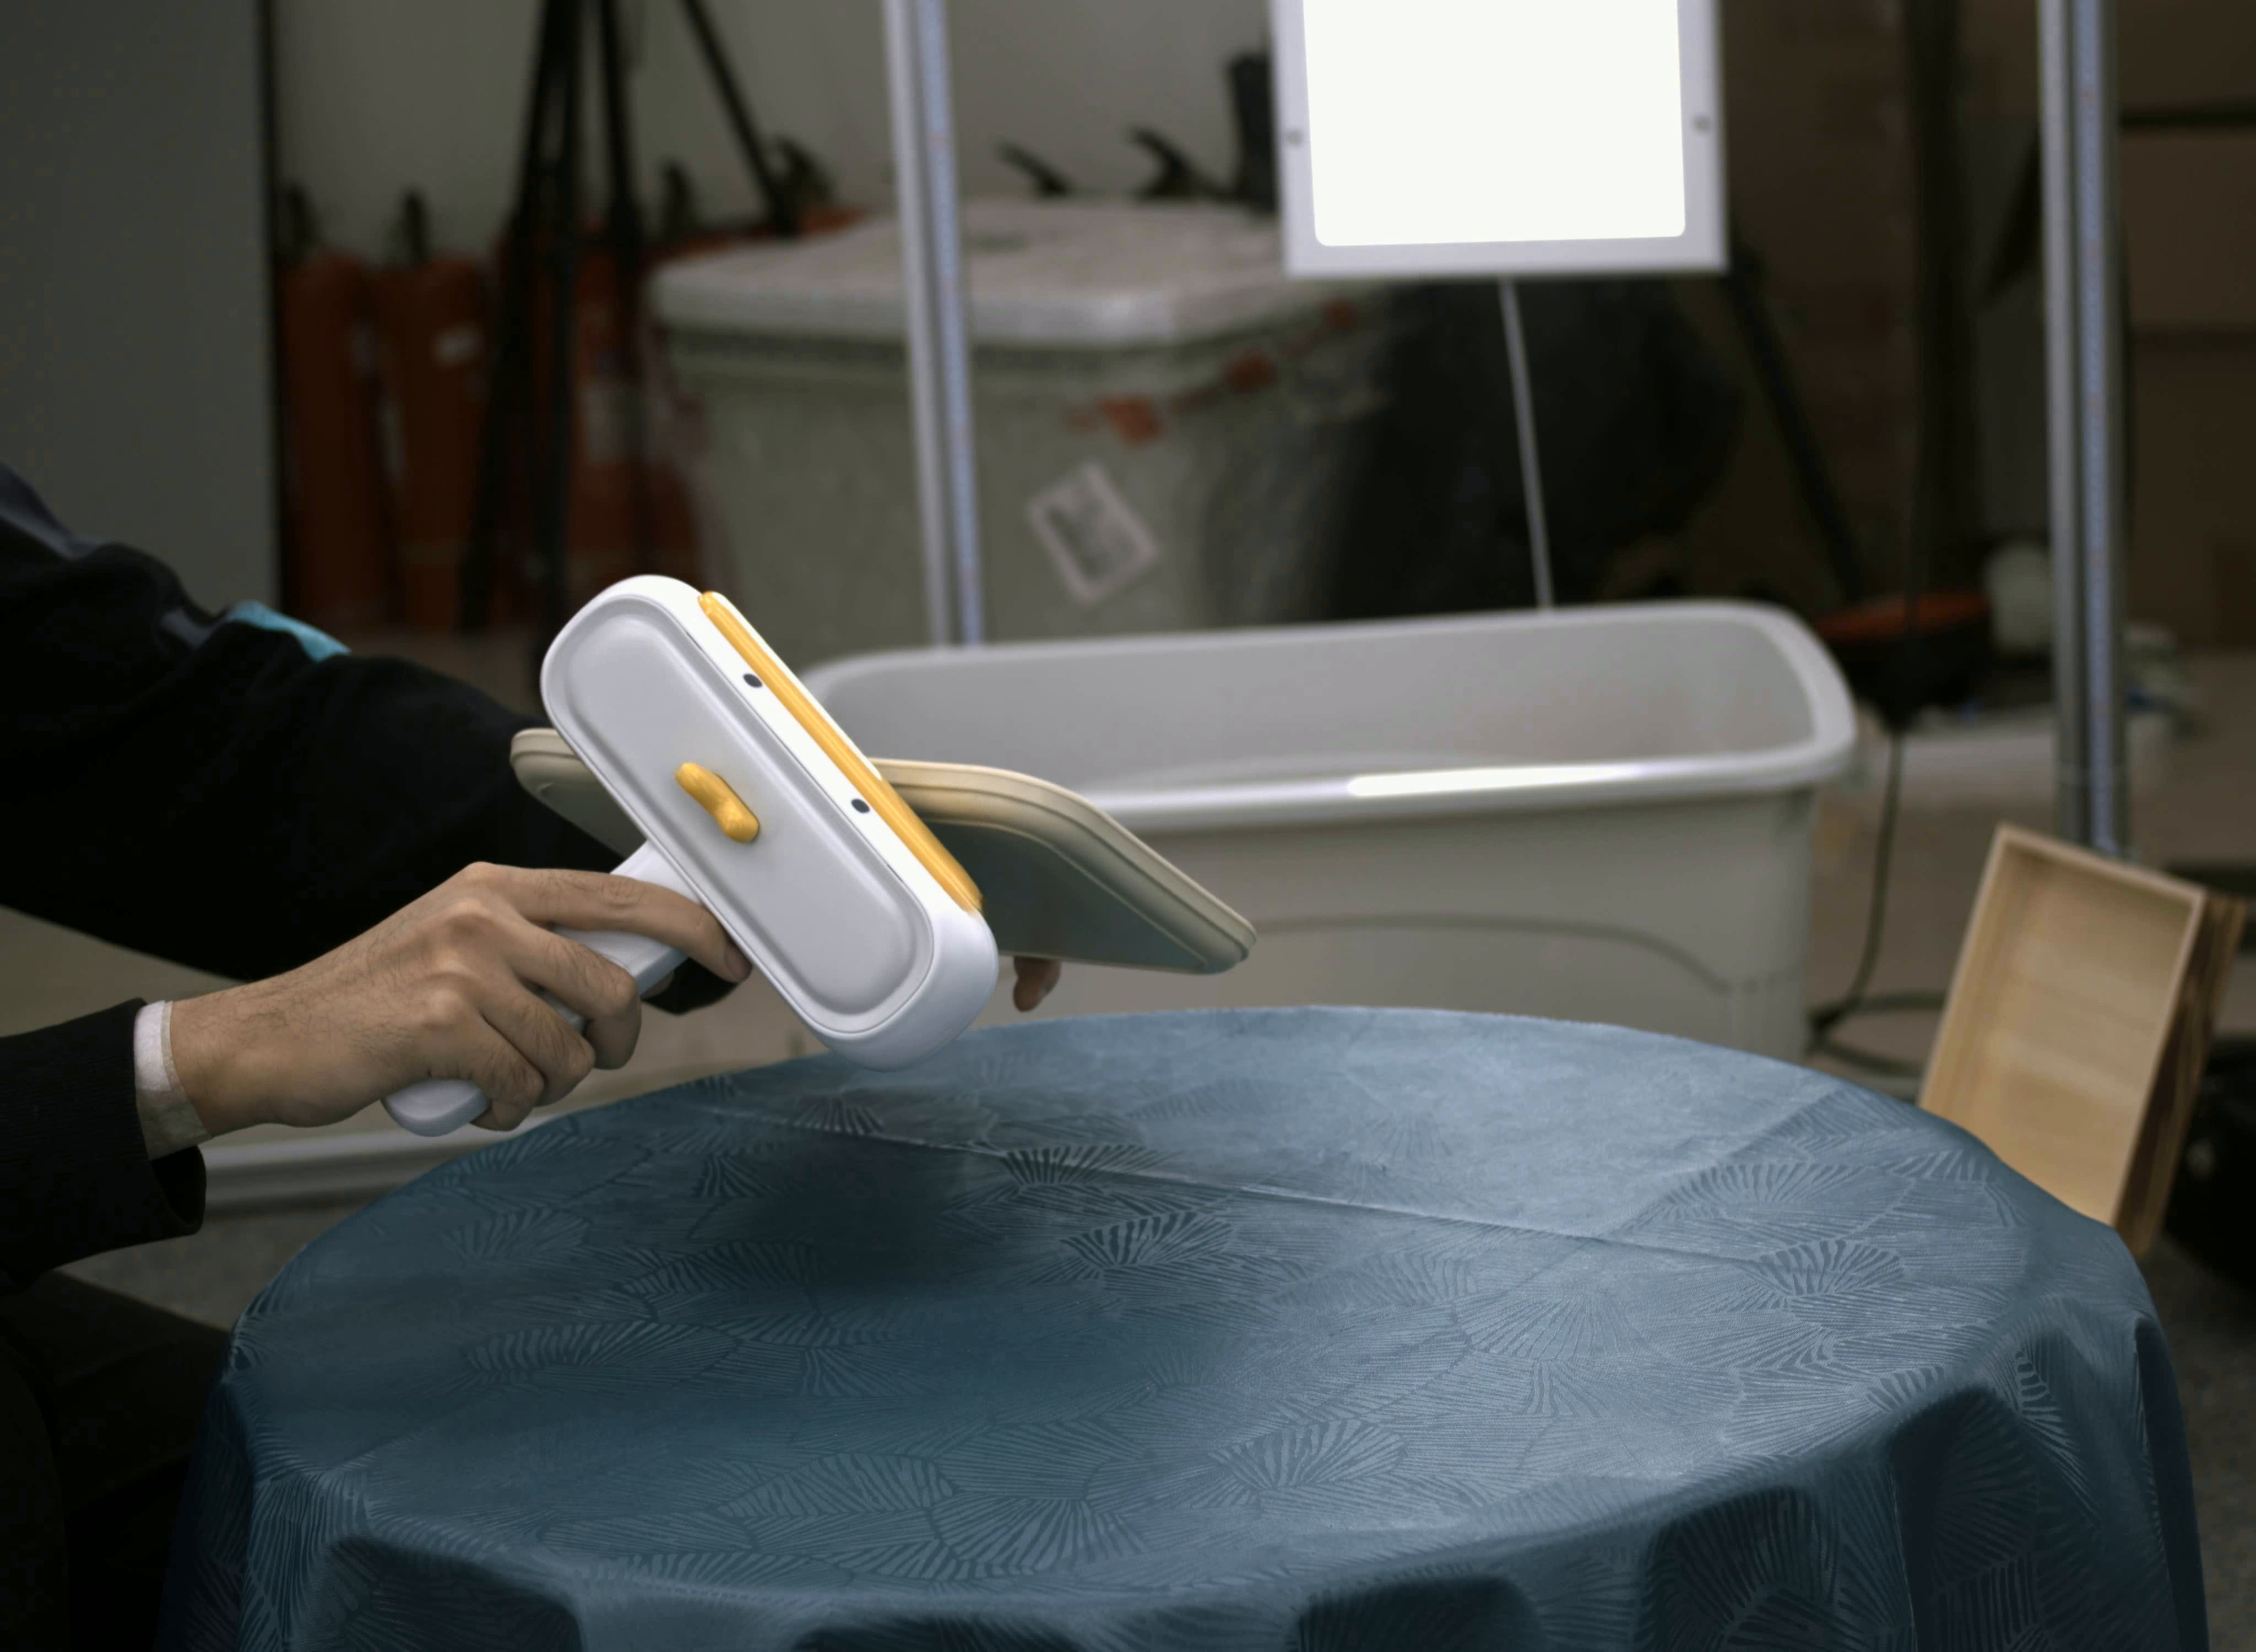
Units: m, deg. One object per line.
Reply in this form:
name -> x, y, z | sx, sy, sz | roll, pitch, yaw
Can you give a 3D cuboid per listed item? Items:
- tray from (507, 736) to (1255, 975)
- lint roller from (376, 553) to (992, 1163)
tray -> -0.087, 0.012, 1.902 | 0.244, 0.017, 0.168 | 4, -19, 34
lint roller -> -0.164, 0.033, 1.791 | 0.194, 0.193, 0.073 | 44, 3, 15
